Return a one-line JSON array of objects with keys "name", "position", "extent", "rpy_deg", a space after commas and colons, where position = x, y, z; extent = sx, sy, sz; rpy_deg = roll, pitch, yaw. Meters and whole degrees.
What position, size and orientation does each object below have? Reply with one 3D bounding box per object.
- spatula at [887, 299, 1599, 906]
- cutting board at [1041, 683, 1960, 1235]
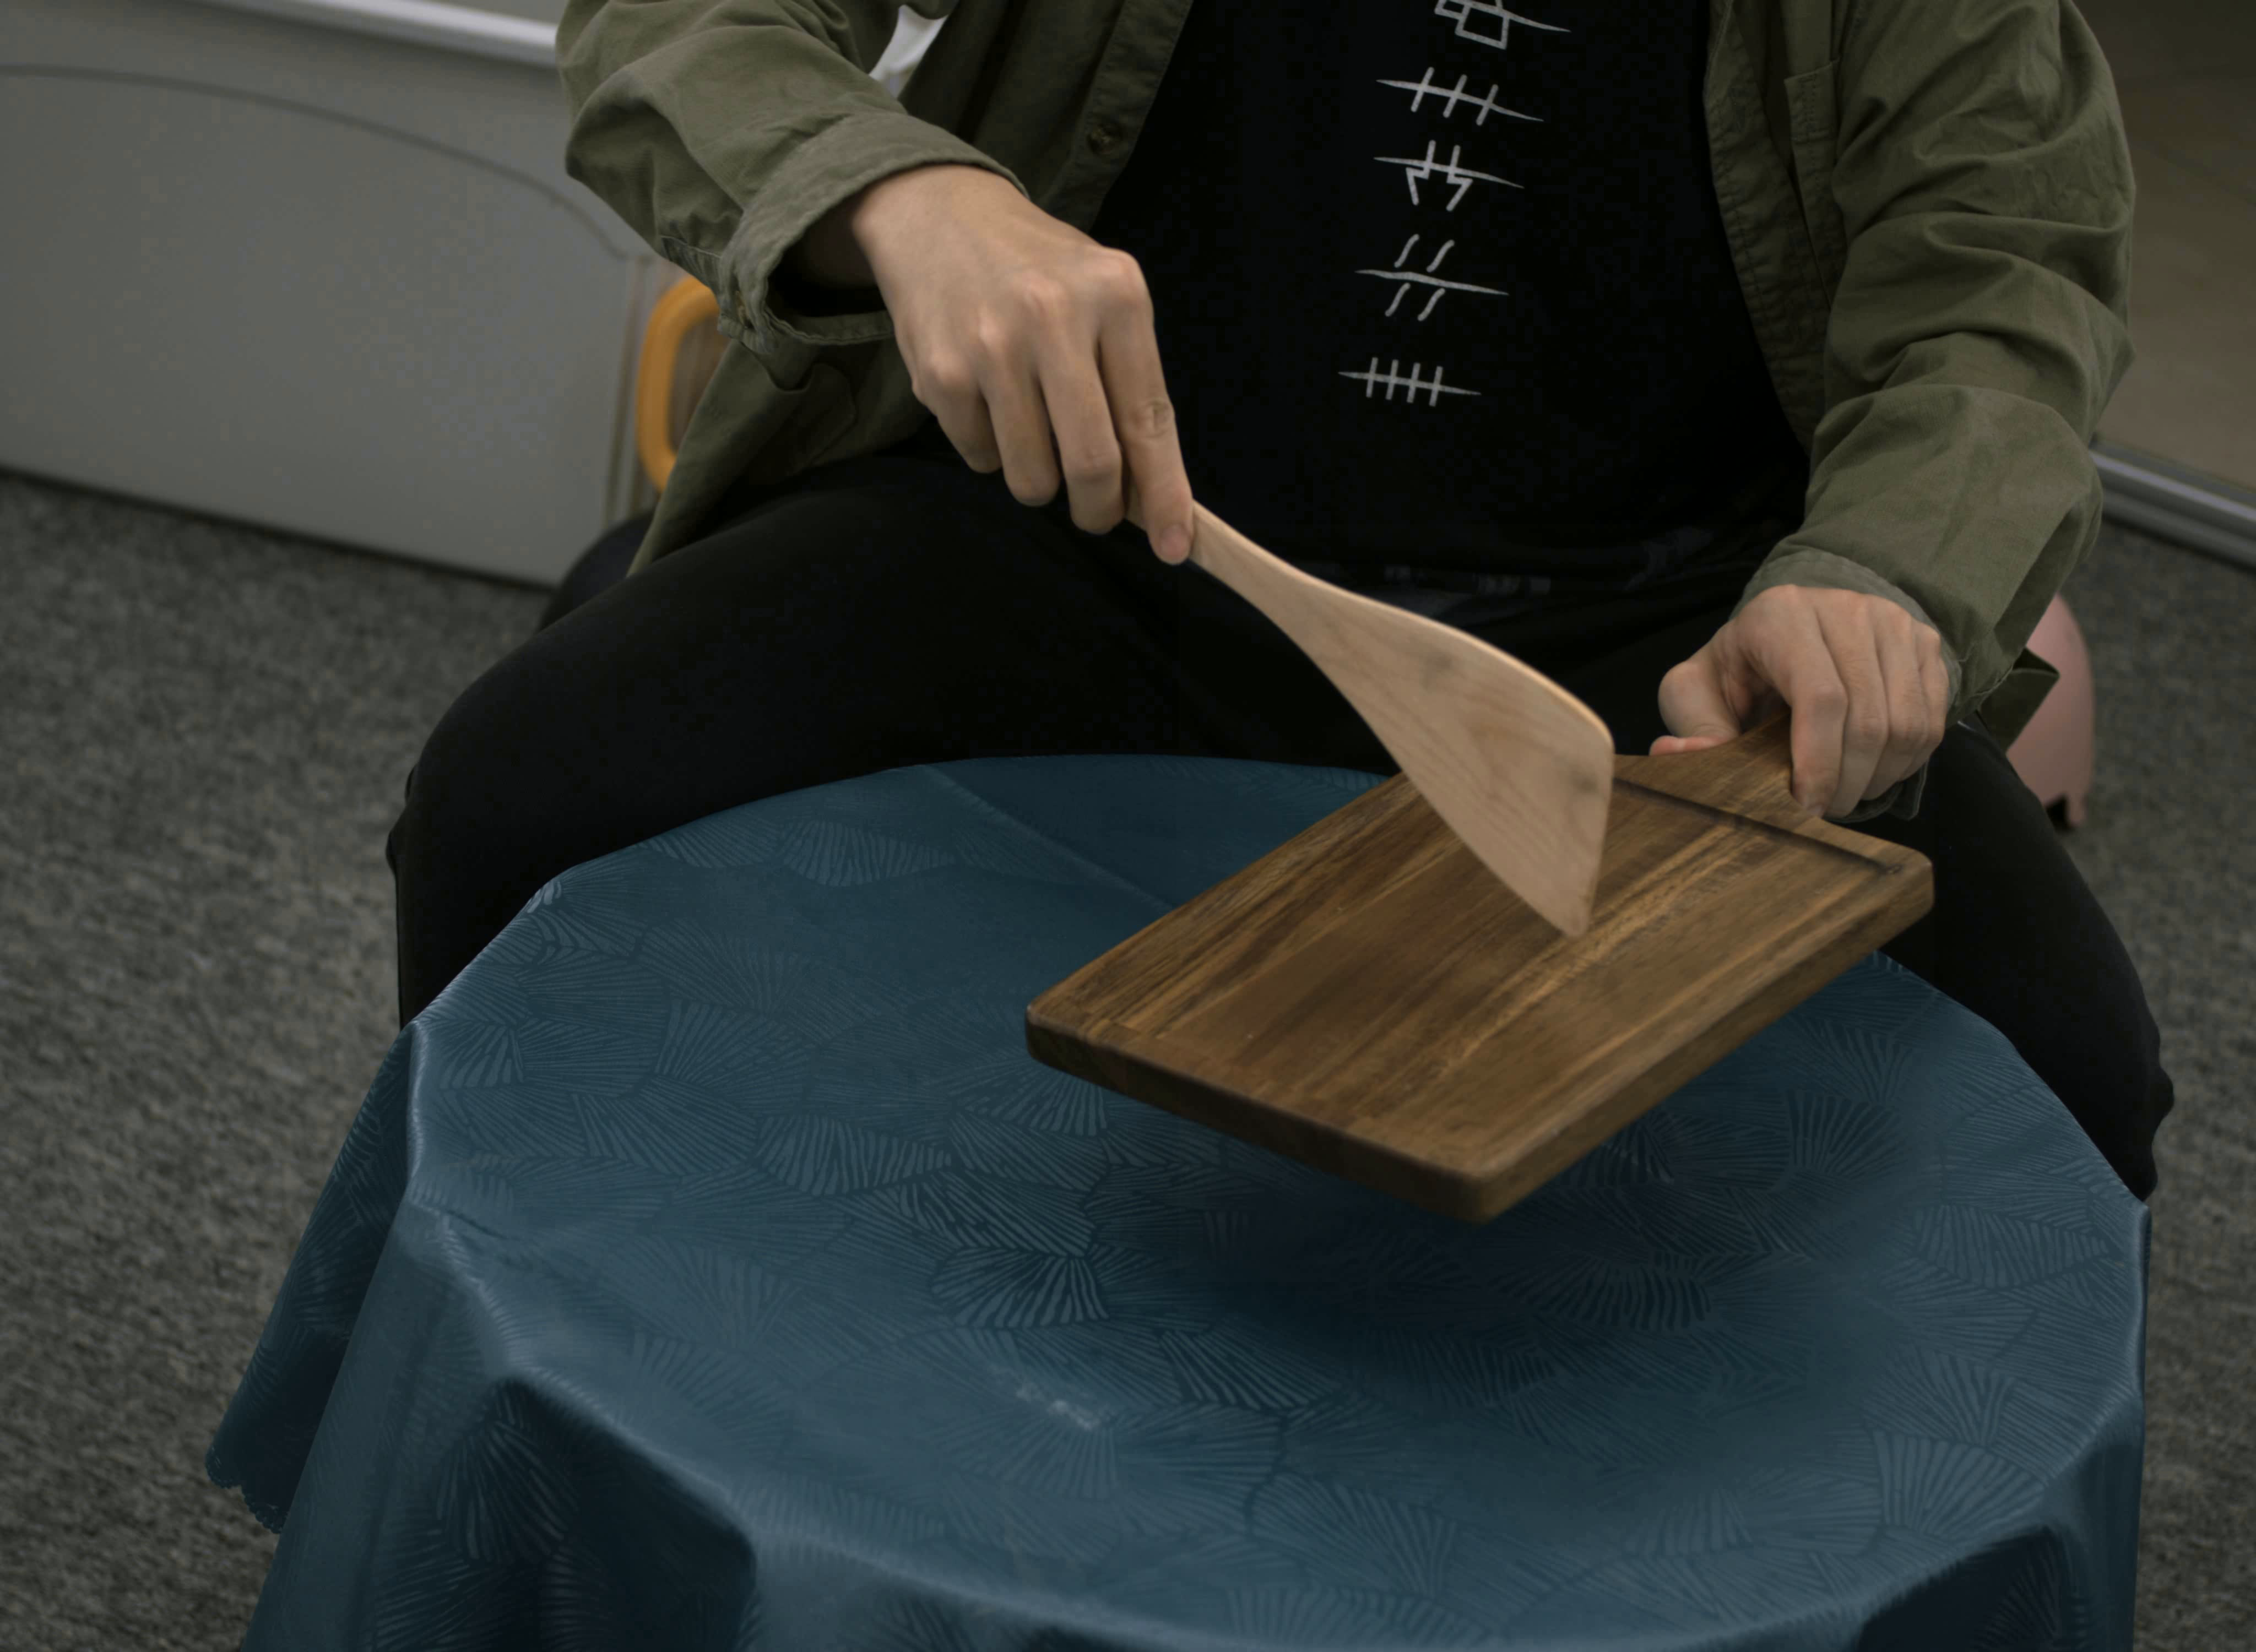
[{"name": "spatula", "position": [0.034, -0.089, 1.763], "extent": [0.330, 0.079, 0.016], "rpy_deg": [36, 42, 27]}, {"name": "cutting board", "position": [0.157, 0.027, 1.783], "extent": [0.202, 0.023, 0.351], "rpy_deg": [19, 36, 40]}]
